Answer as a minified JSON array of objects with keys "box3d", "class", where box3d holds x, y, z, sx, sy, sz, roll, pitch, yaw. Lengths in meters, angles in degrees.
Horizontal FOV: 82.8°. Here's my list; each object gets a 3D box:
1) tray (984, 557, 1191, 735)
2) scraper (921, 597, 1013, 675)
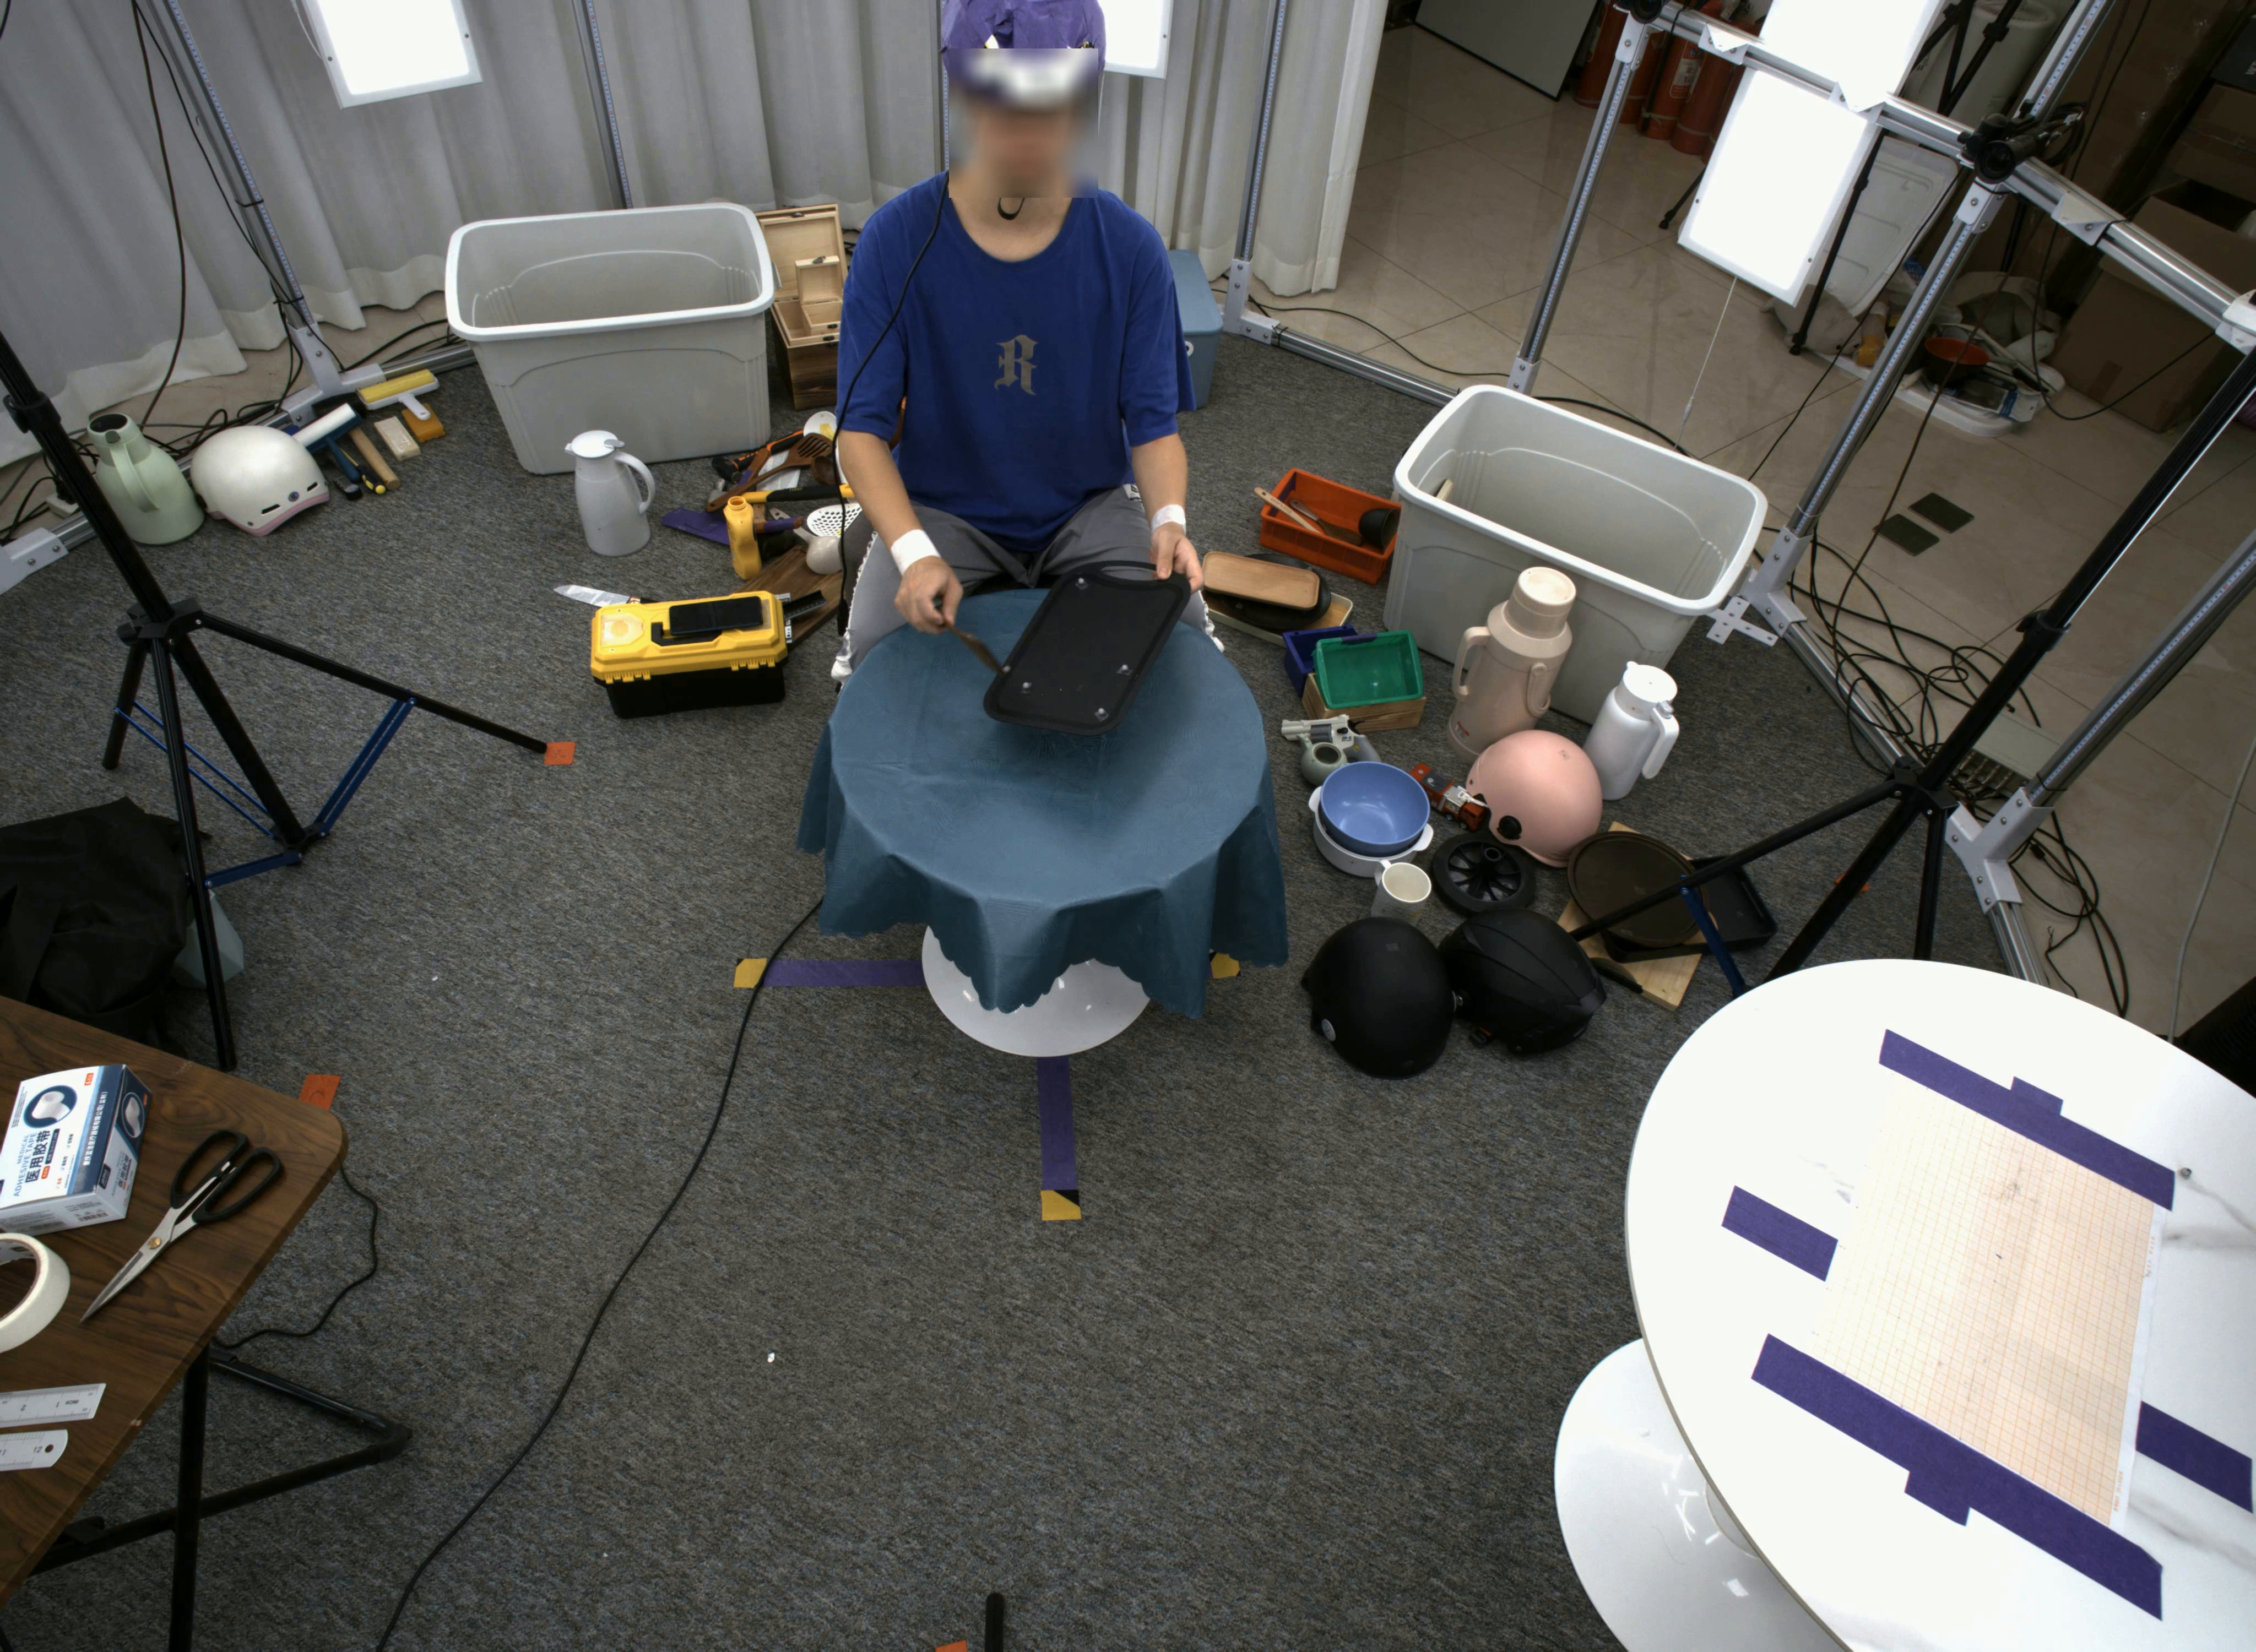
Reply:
[{"box3d":[-0.050,-0.256,1.743,0.212,0.009,0.331,12,56,26],"class":"tray"},{"box3d":[-0.223,-0.261,1.718,0.011,0.074,0.215,-45,45,-4],"class":"scraper"}]
